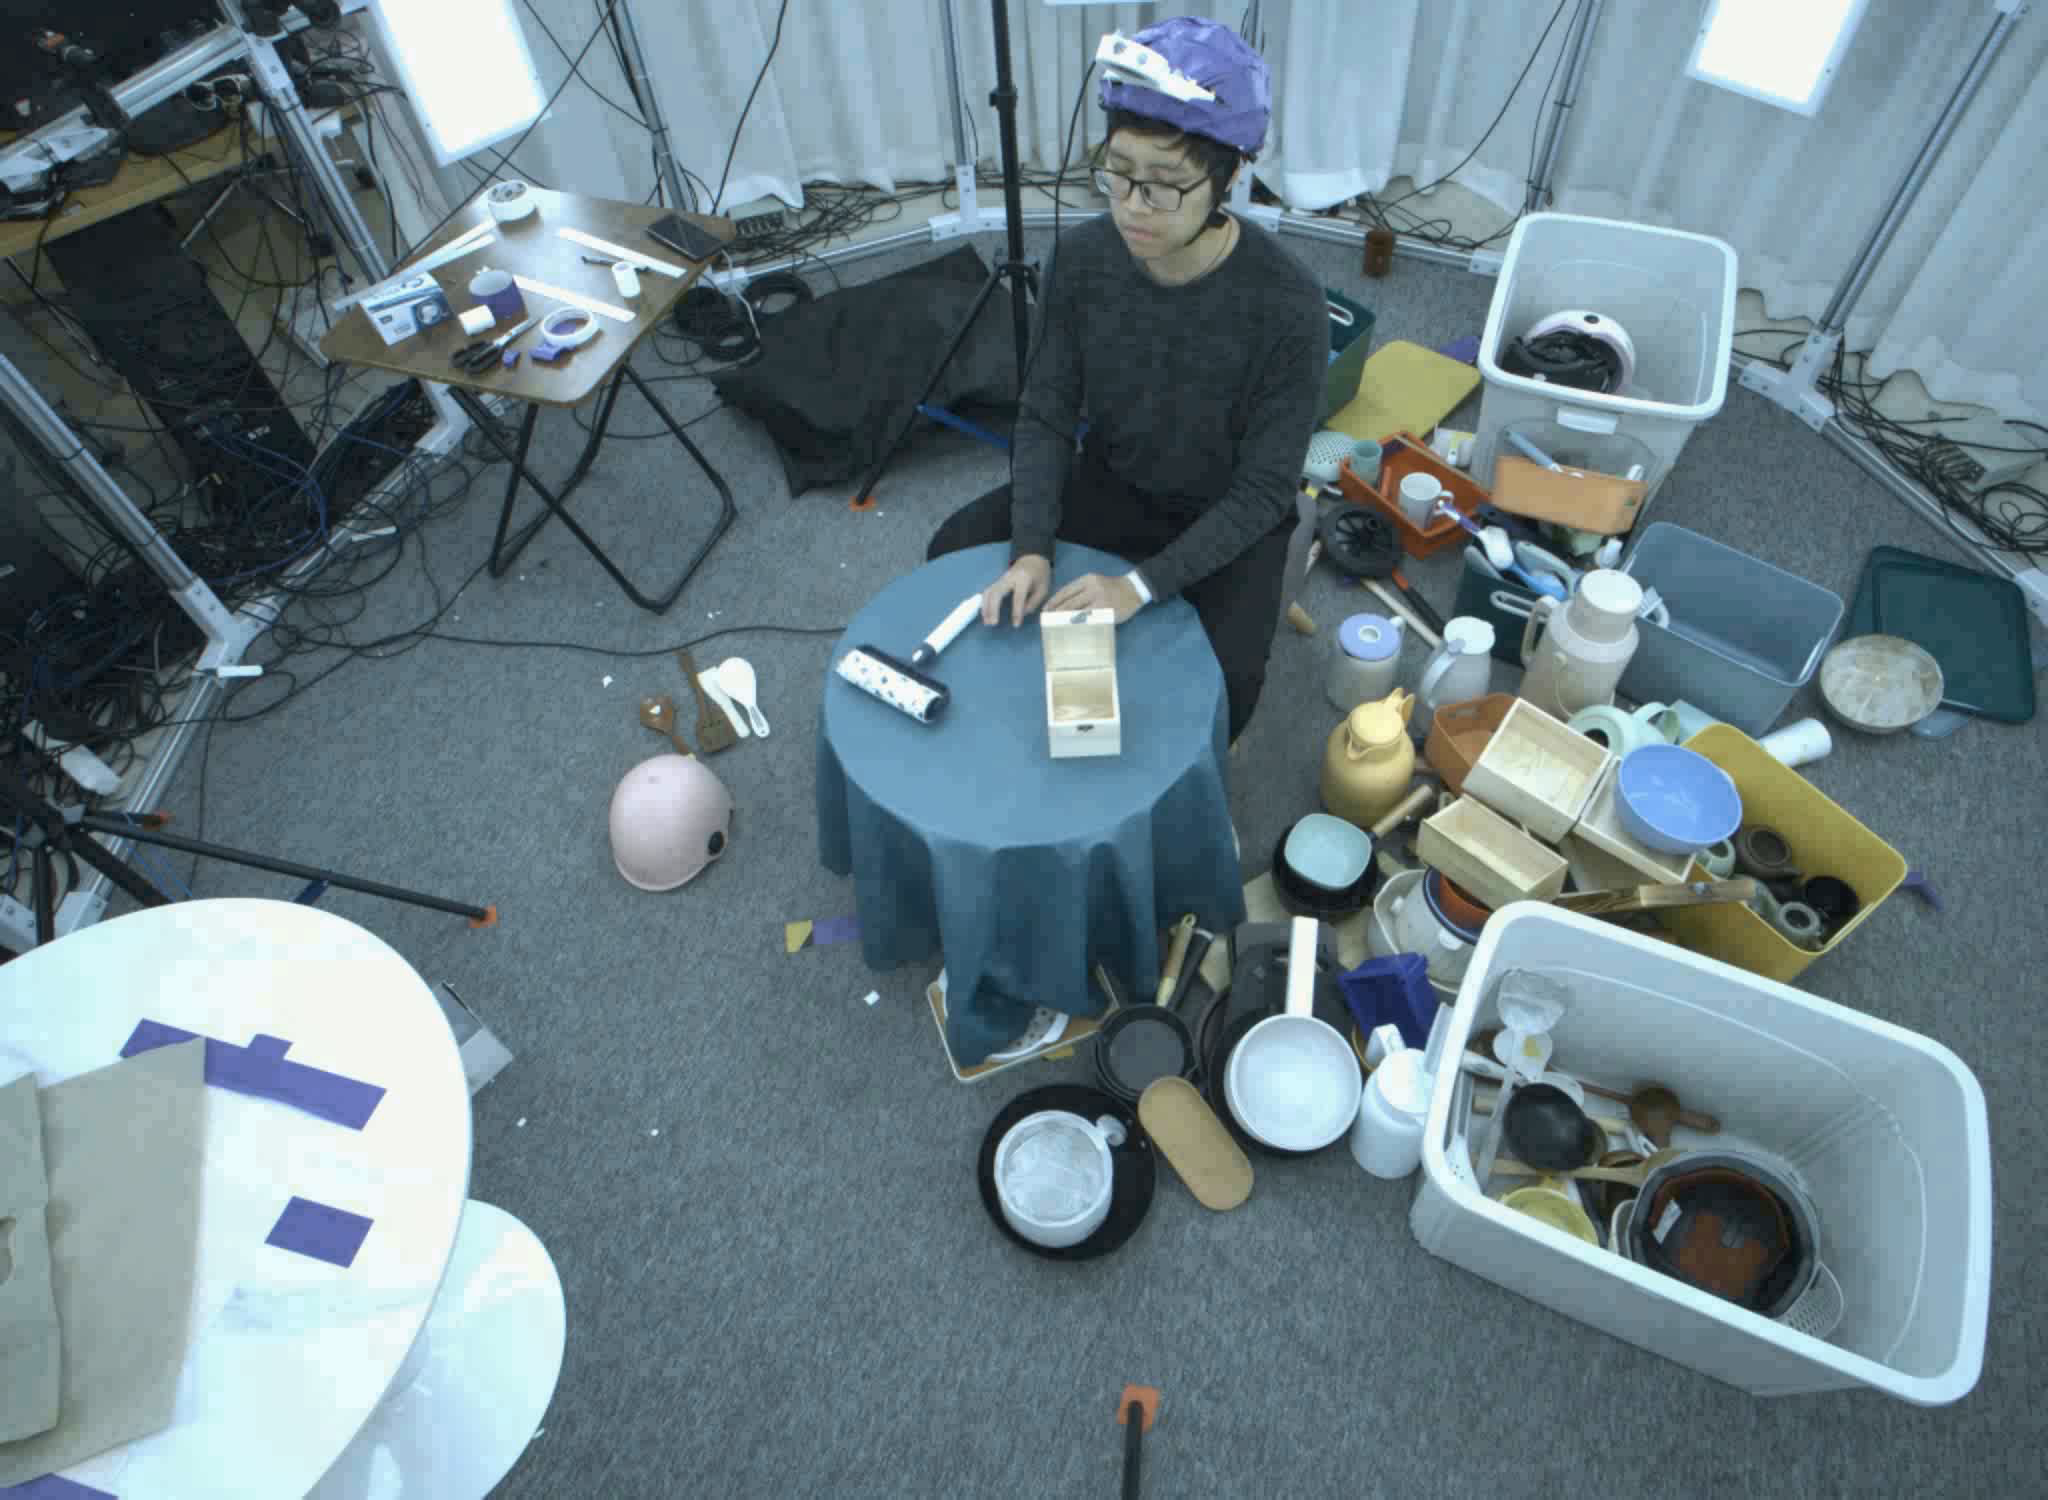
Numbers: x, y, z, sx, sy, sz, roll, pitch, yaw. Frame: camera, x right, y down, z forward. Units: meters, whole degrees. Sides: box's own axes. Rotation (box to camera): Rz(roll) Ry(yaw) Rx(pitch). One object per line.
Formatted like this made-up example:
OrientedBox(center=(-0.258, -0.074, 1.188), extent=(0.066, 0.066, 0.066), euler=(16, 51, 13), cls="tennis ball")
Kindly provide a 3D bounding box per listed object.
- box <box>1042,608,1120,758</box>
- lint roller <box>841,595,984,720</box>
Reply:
OrientedBox(center=(0.081, -0.092, 1.738), extent=(0.102, 0.186, 0.132), euler=(-3, 54, 1), cls="box")
OrientedBox(center=(-0.143, -0.165, 1.883), extent=(0.173, 0.051, 0.248), euler=(28, 59, 21), cls="lint roller")
